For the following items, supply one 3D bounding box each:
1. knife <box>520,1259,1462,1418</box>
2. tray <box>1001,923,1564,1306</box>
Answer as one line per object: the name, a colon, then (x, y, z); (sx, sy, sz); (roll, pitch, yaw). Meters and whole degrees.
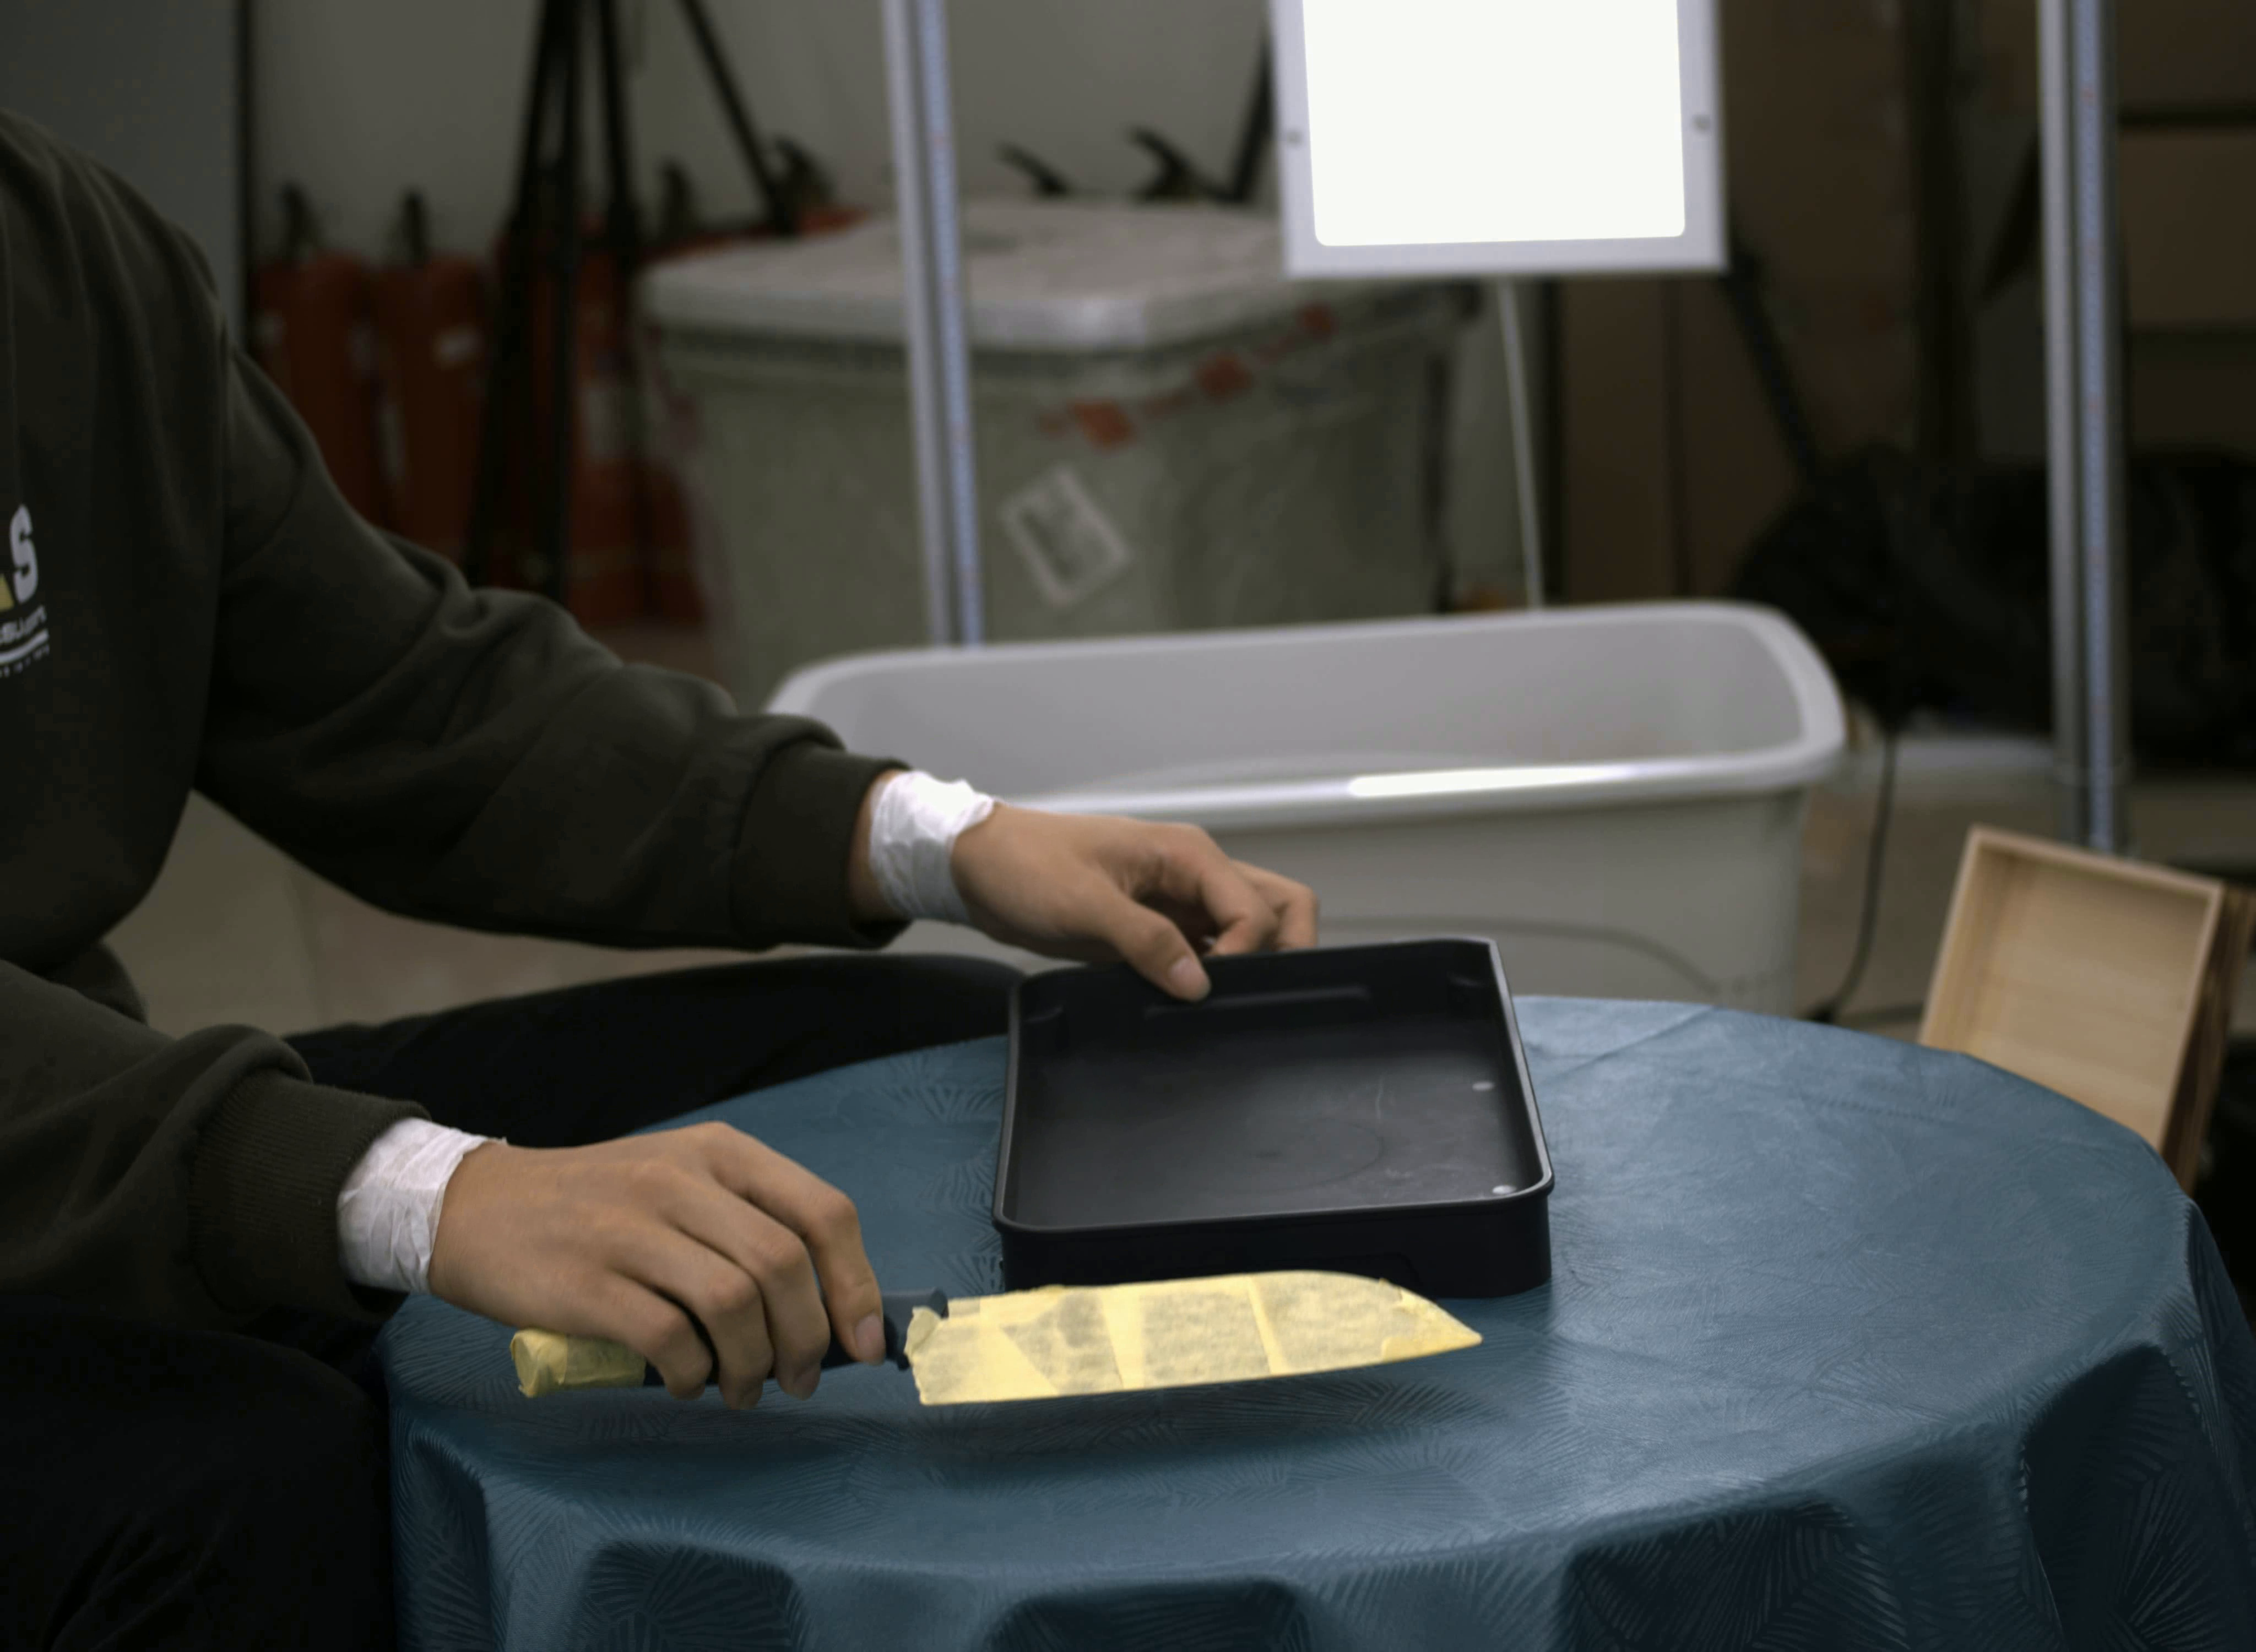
knife: (-0.041, 0.158, 1.674); (0.289, 0.027, 0.081); (-6, 18, 1)
tray: (0.049, 0.099, 1.915); (0.184, 0.037, 0.317); (-6, 15, 1)
